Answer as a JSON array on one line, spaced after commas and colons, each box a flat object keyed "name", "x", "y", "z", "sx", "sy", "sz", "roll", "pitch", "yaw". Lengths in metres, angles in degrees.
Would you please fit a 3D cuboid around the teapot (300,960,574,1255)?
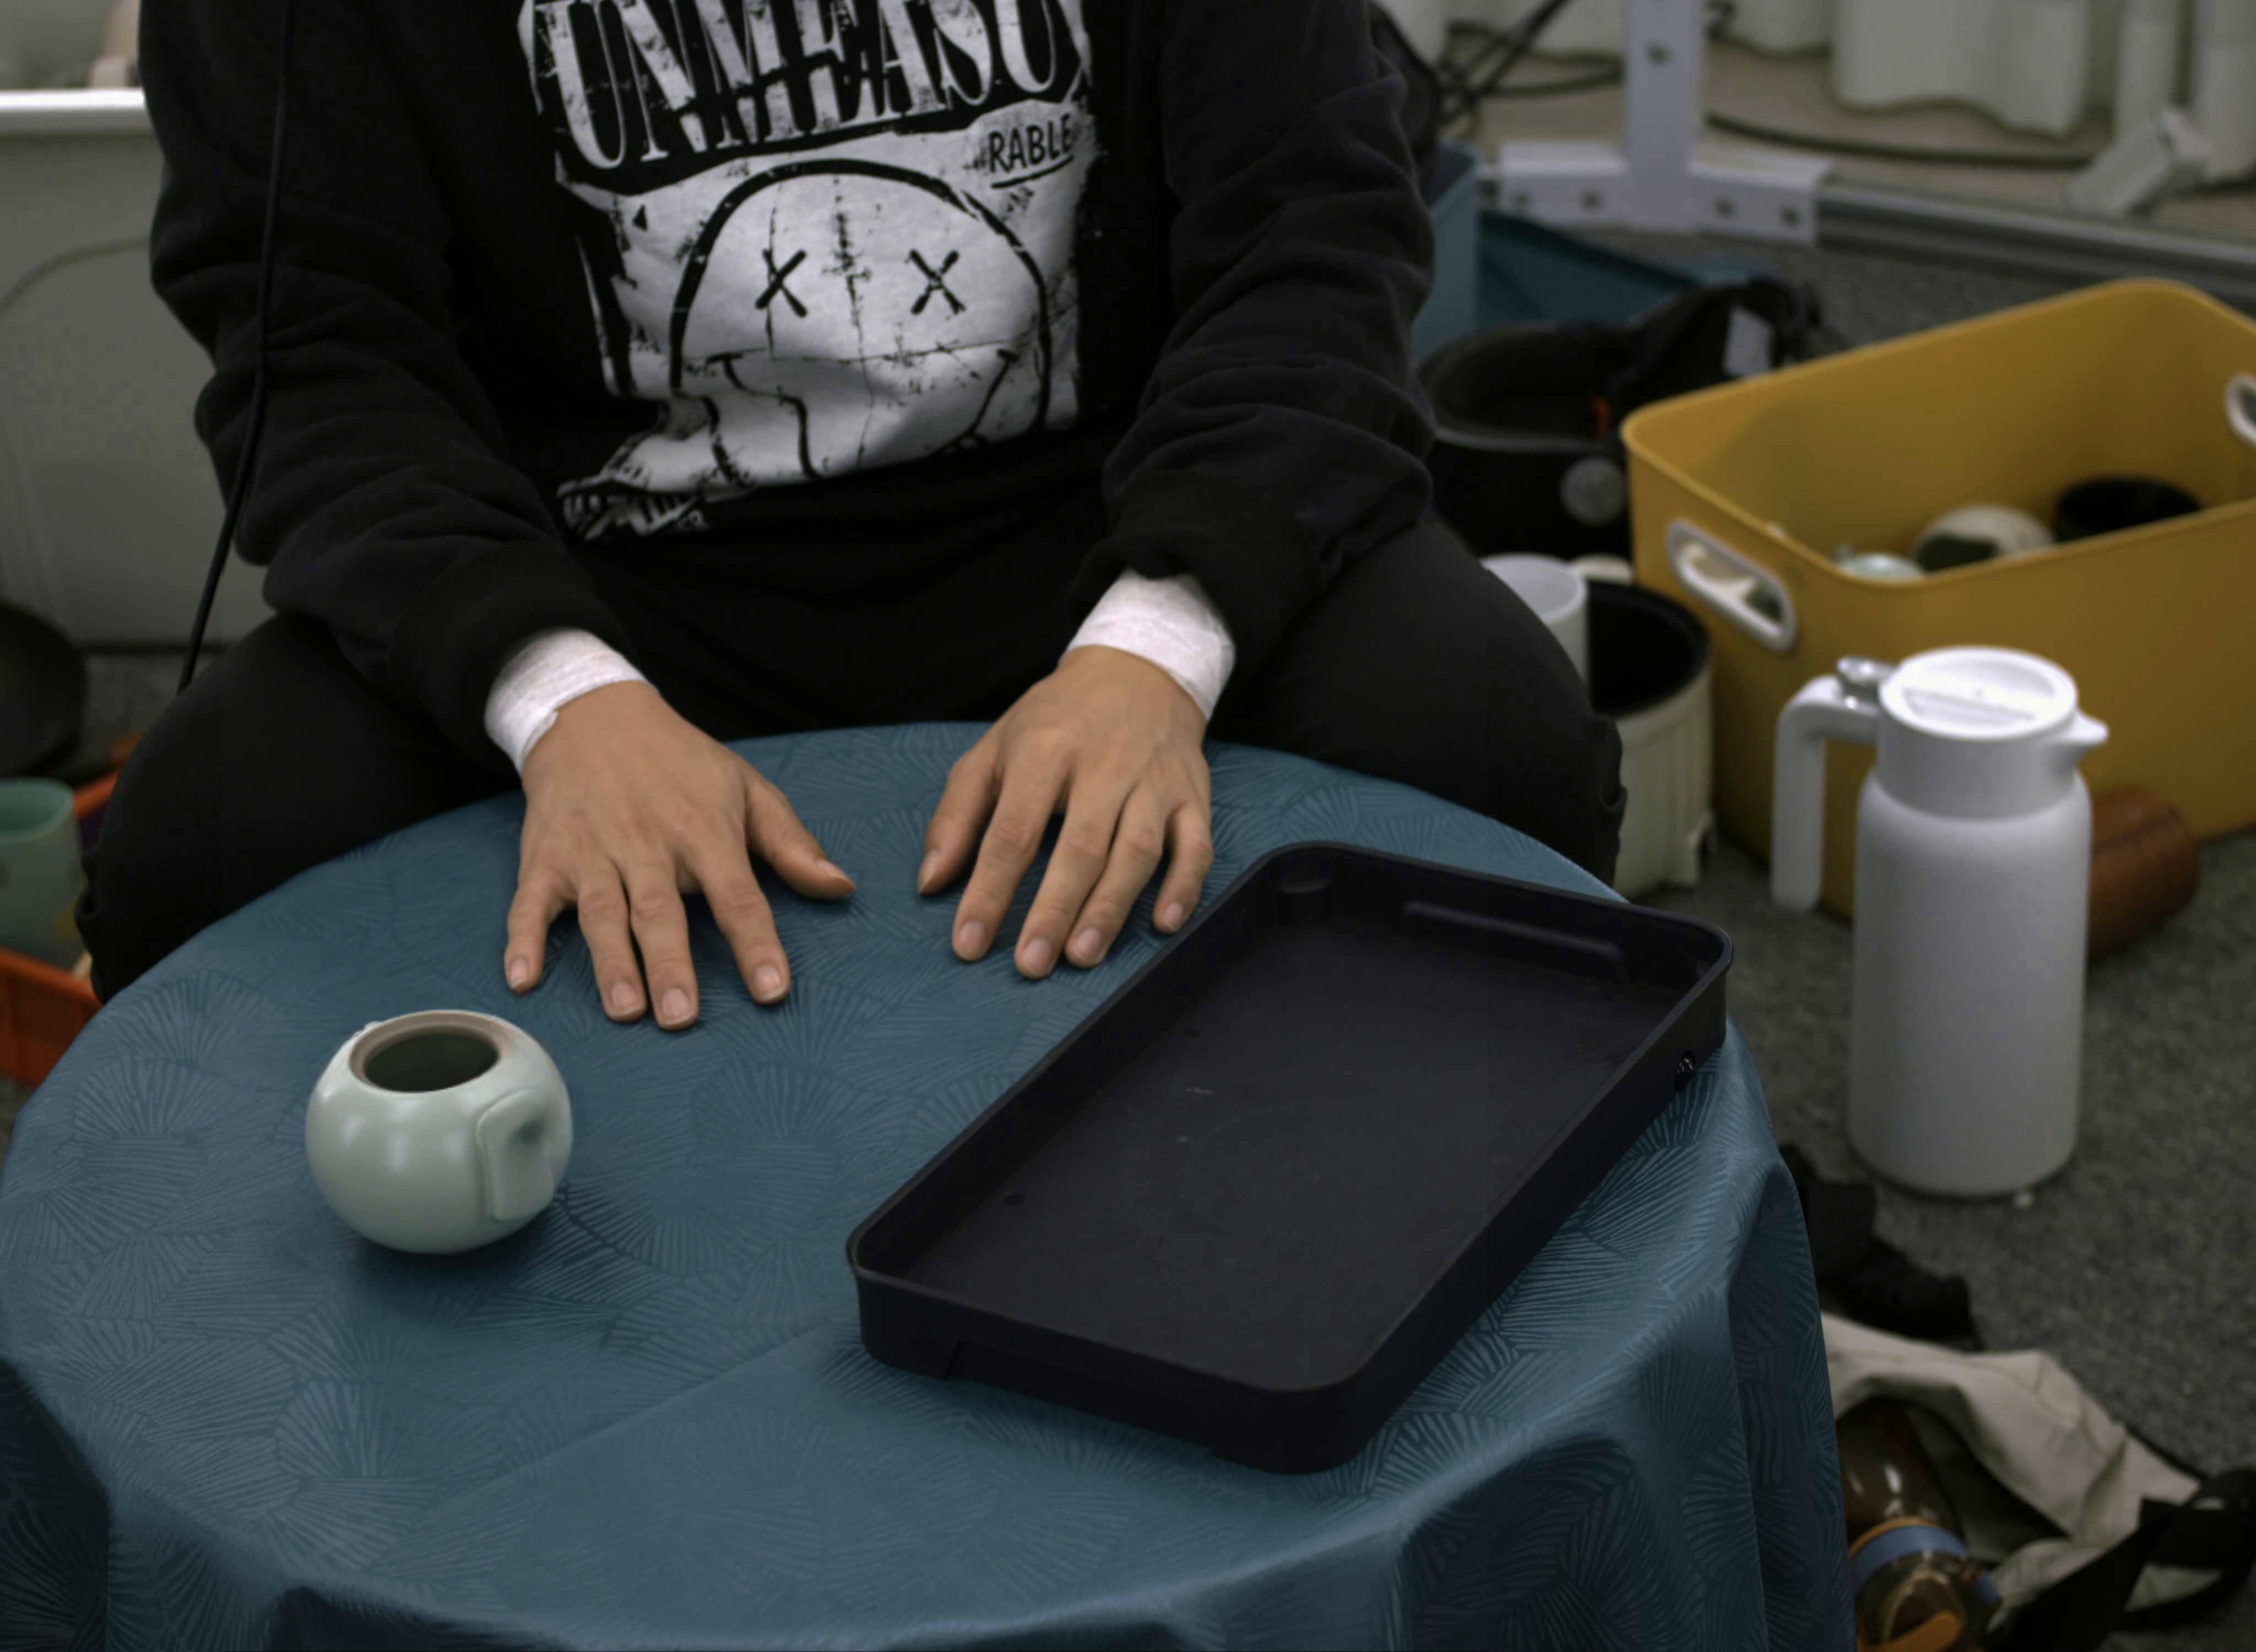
[{"name": "teapot", "x": -0.226, "y": 0.100, "z": 1.845, "sx": 0.089, "sy": 0.074, "sz": 0.144, "roll": -22, "pitch": 34, "yaw": -33}]

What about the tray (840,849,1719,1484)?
[{"name": "tray", "x": 0.056, "y": 0.104, "z": 1.848, "sx": 0.183, "sy": 0.036, "sz": 0.323, "roll": 11, "pitch": 30, "yaw": 25}]
